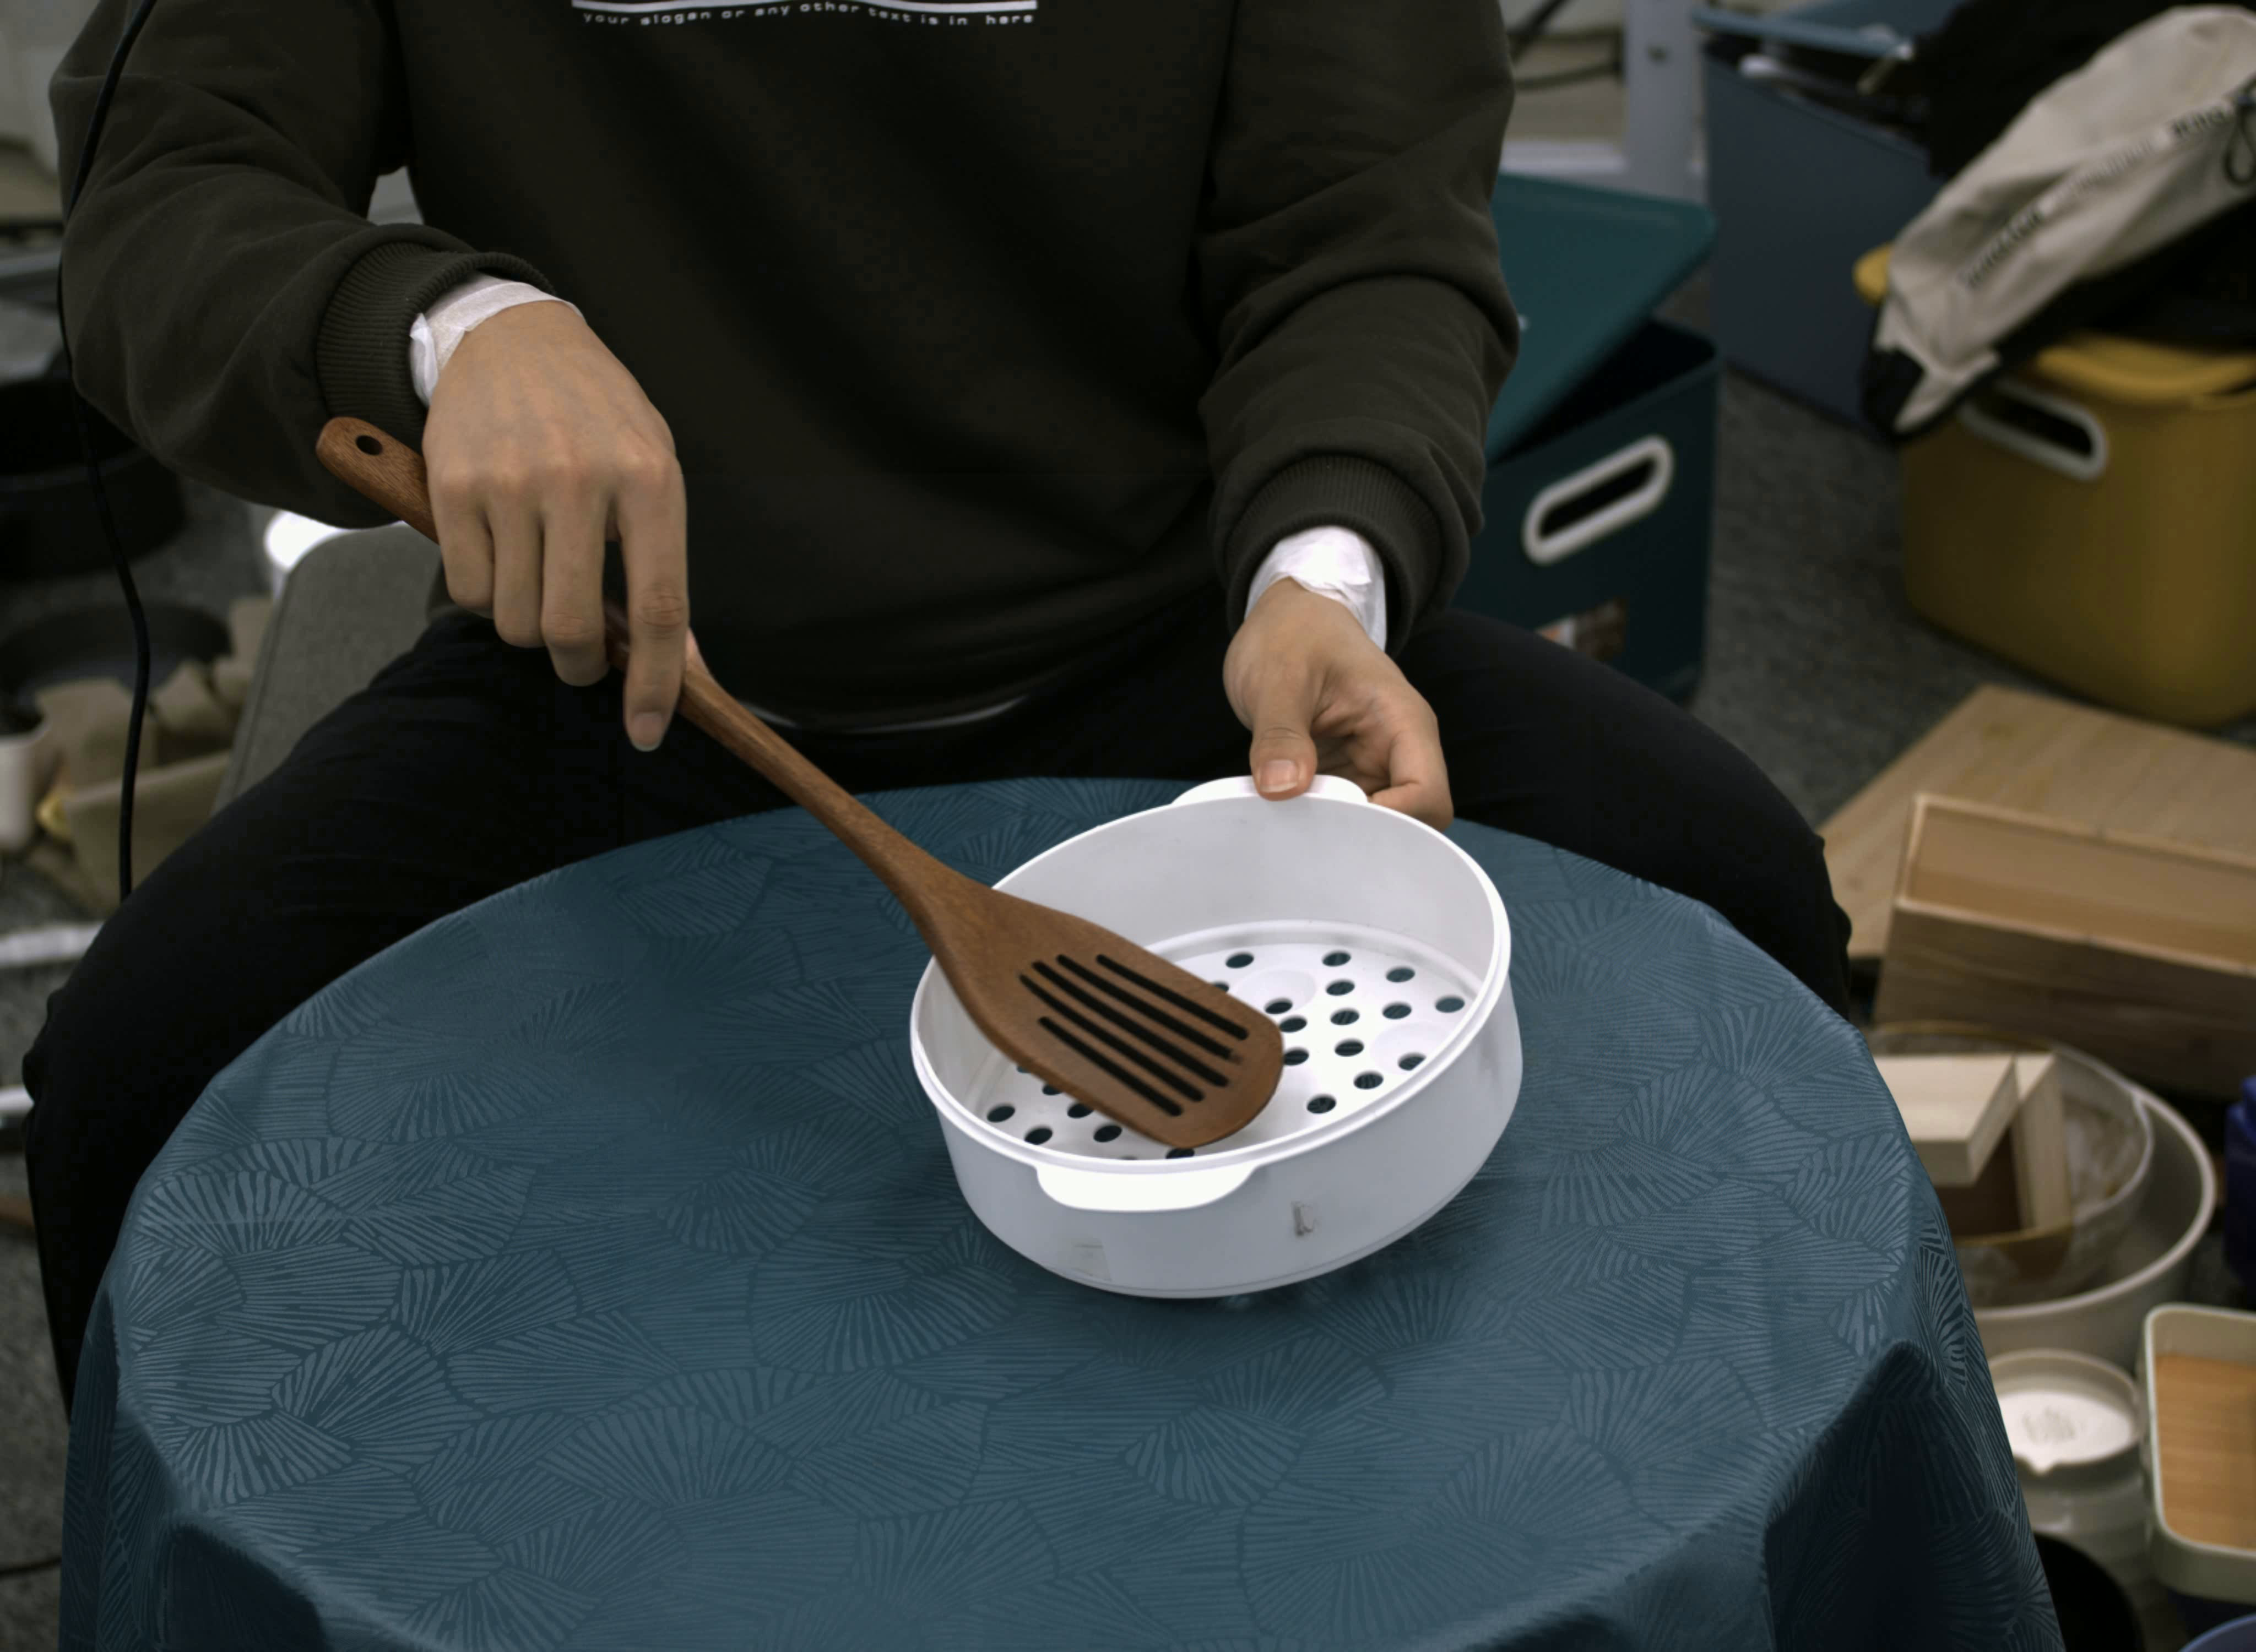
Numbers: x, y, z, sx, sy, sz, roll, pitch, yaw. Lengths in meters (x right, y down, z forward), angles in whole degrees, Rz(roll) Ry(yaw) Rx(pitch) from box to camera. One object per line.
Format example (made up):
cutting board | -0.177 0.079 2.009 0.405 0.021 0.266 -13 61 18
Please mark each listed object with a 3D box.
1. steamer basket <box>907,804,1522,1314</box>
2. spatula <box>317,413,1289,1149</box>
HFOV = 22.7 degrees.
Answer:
steamer basket | 0.031 0.079 1.849 0.200 0.068 0.235 0 33 16
spatula | -0.114 -0.018 1.852 0.385 0.023 0.087 37 38 6
